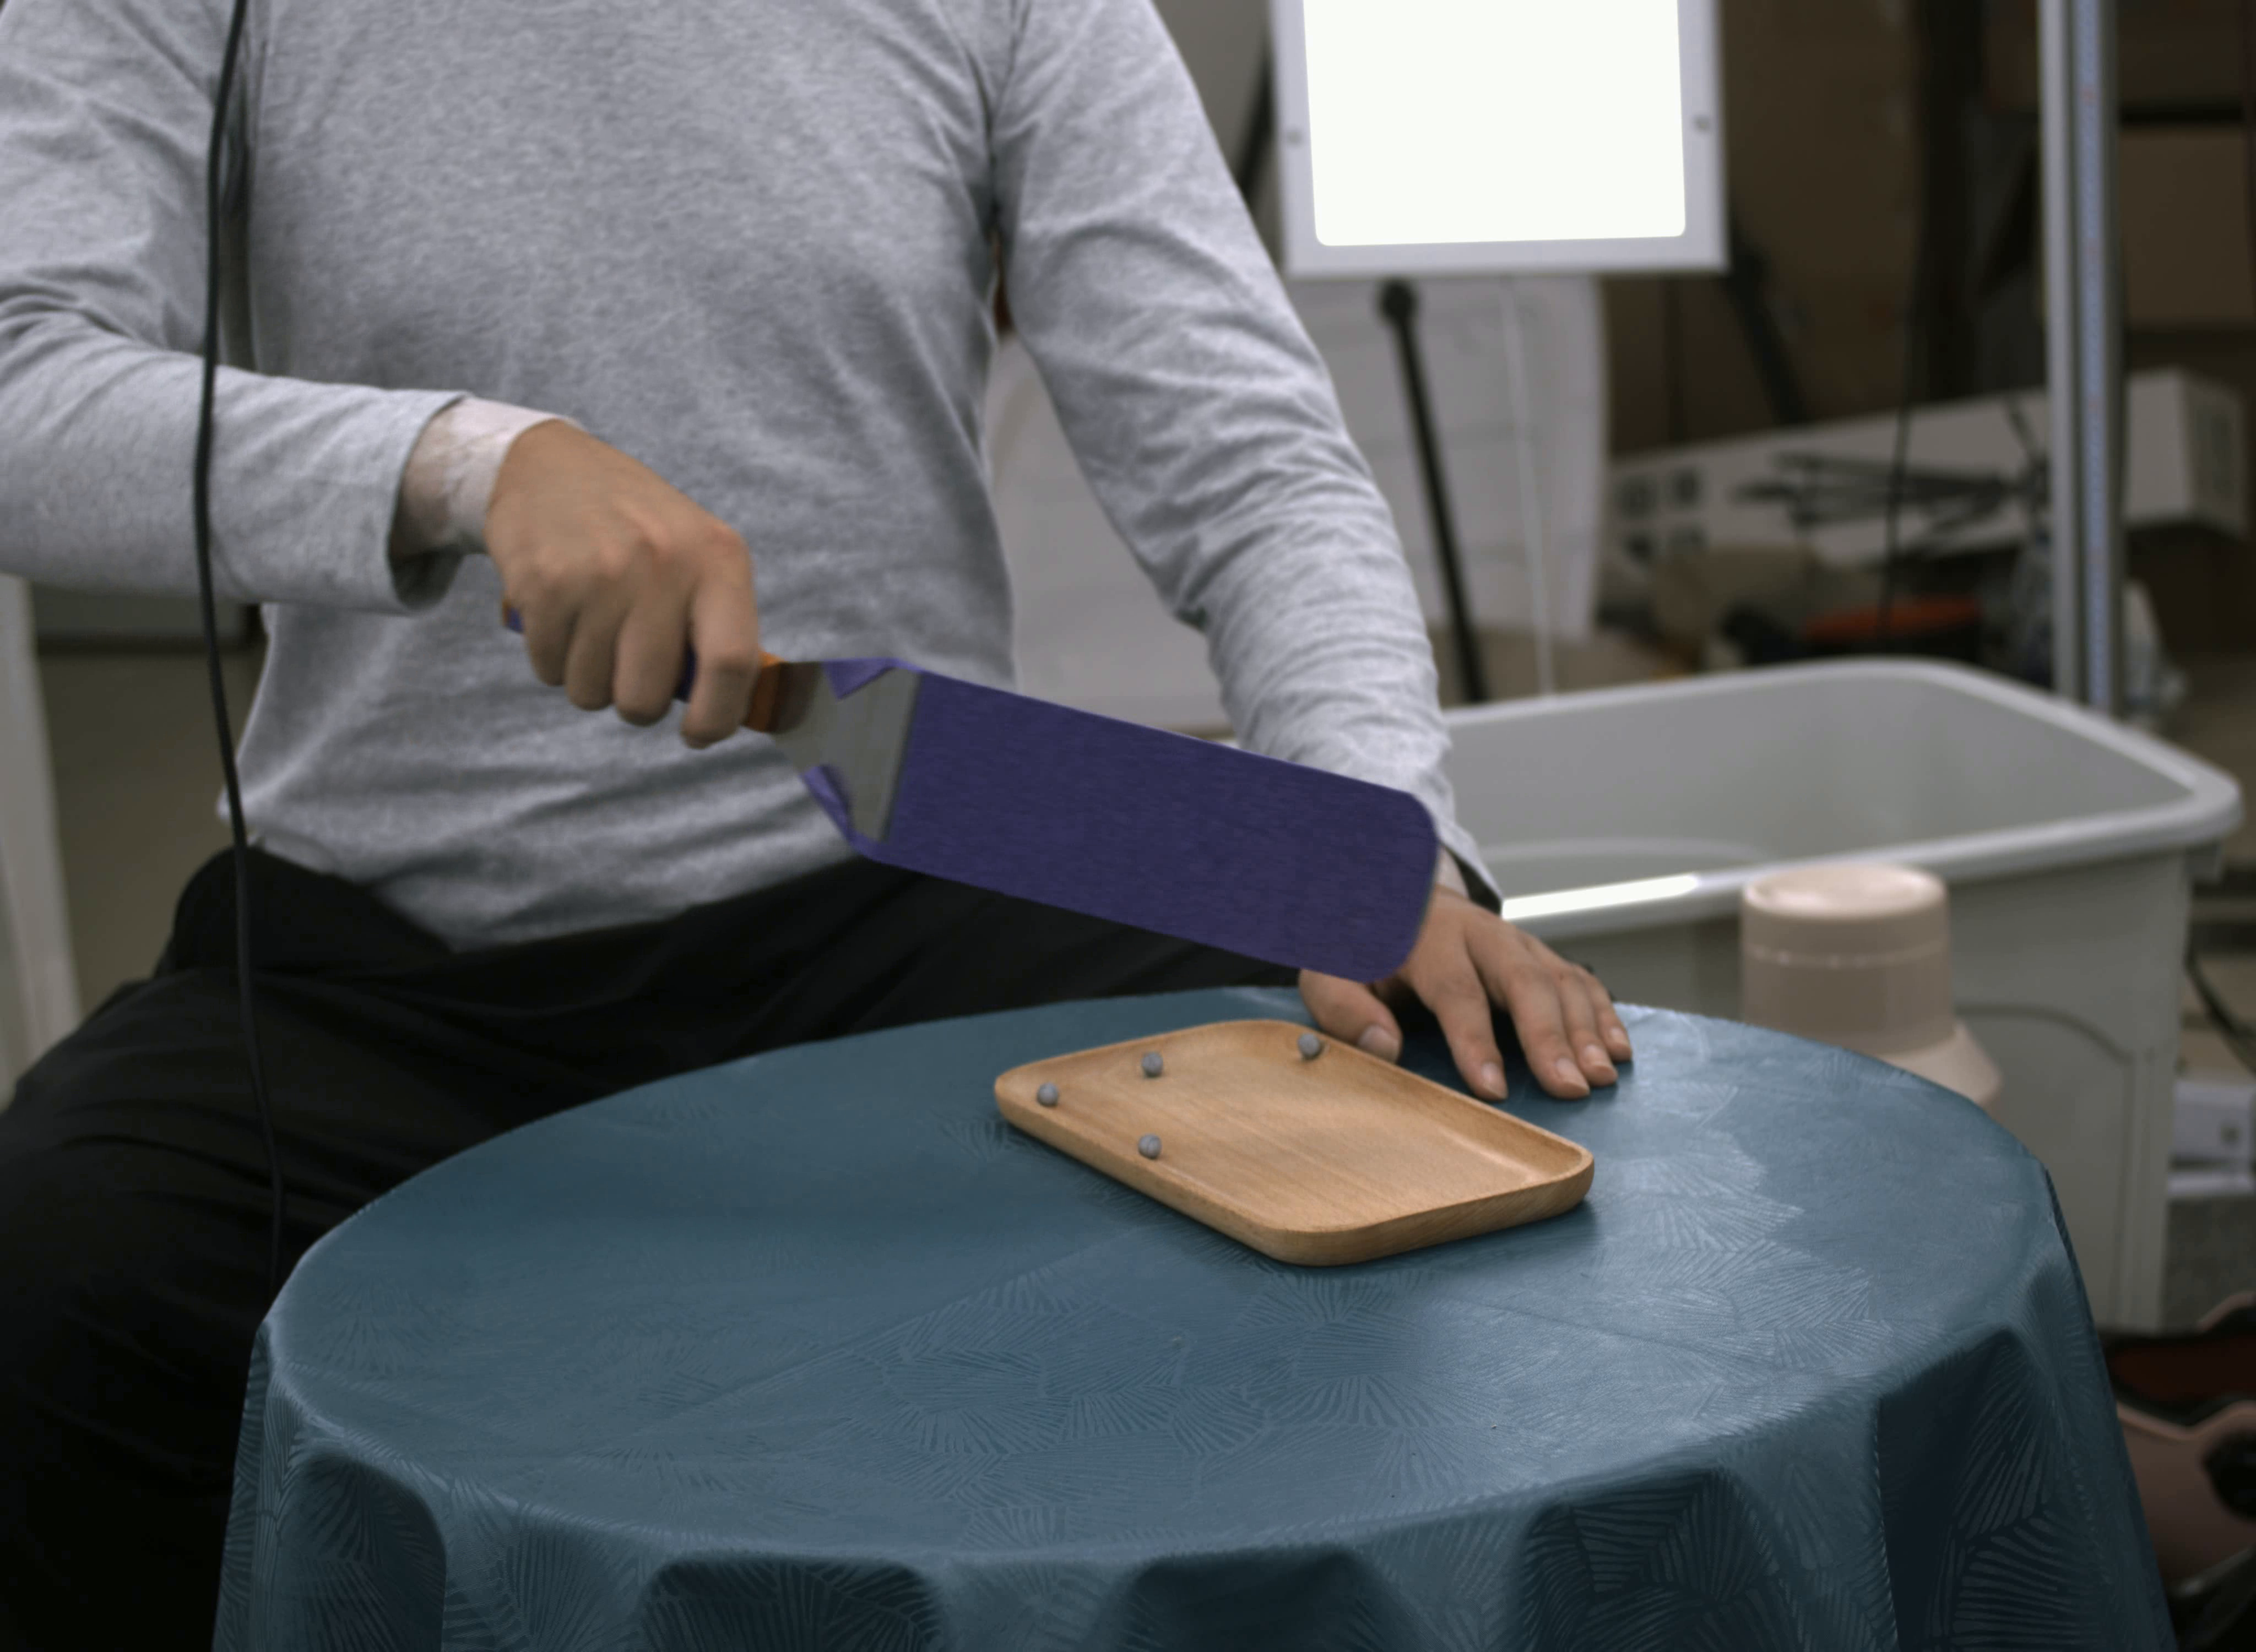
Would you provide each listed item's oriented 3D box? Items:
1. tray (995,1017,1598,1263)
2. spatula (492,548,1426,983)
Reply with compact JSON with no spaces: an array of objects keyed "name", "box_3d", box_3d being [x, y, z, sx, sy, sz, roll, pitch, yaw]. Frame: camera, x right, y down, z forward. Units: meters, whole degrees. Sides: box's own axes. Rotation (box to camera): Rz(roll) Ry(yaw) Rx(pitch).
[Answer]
[{"name":"tray","box_3d":[0.056,0.107,1.919,0.128,0.023,0.255,-15,17,-23]},{"name":"spatula","box_3d":[-0.066,-0.031,1.956,0.365,0.076,0.084,24,22,30]}]
